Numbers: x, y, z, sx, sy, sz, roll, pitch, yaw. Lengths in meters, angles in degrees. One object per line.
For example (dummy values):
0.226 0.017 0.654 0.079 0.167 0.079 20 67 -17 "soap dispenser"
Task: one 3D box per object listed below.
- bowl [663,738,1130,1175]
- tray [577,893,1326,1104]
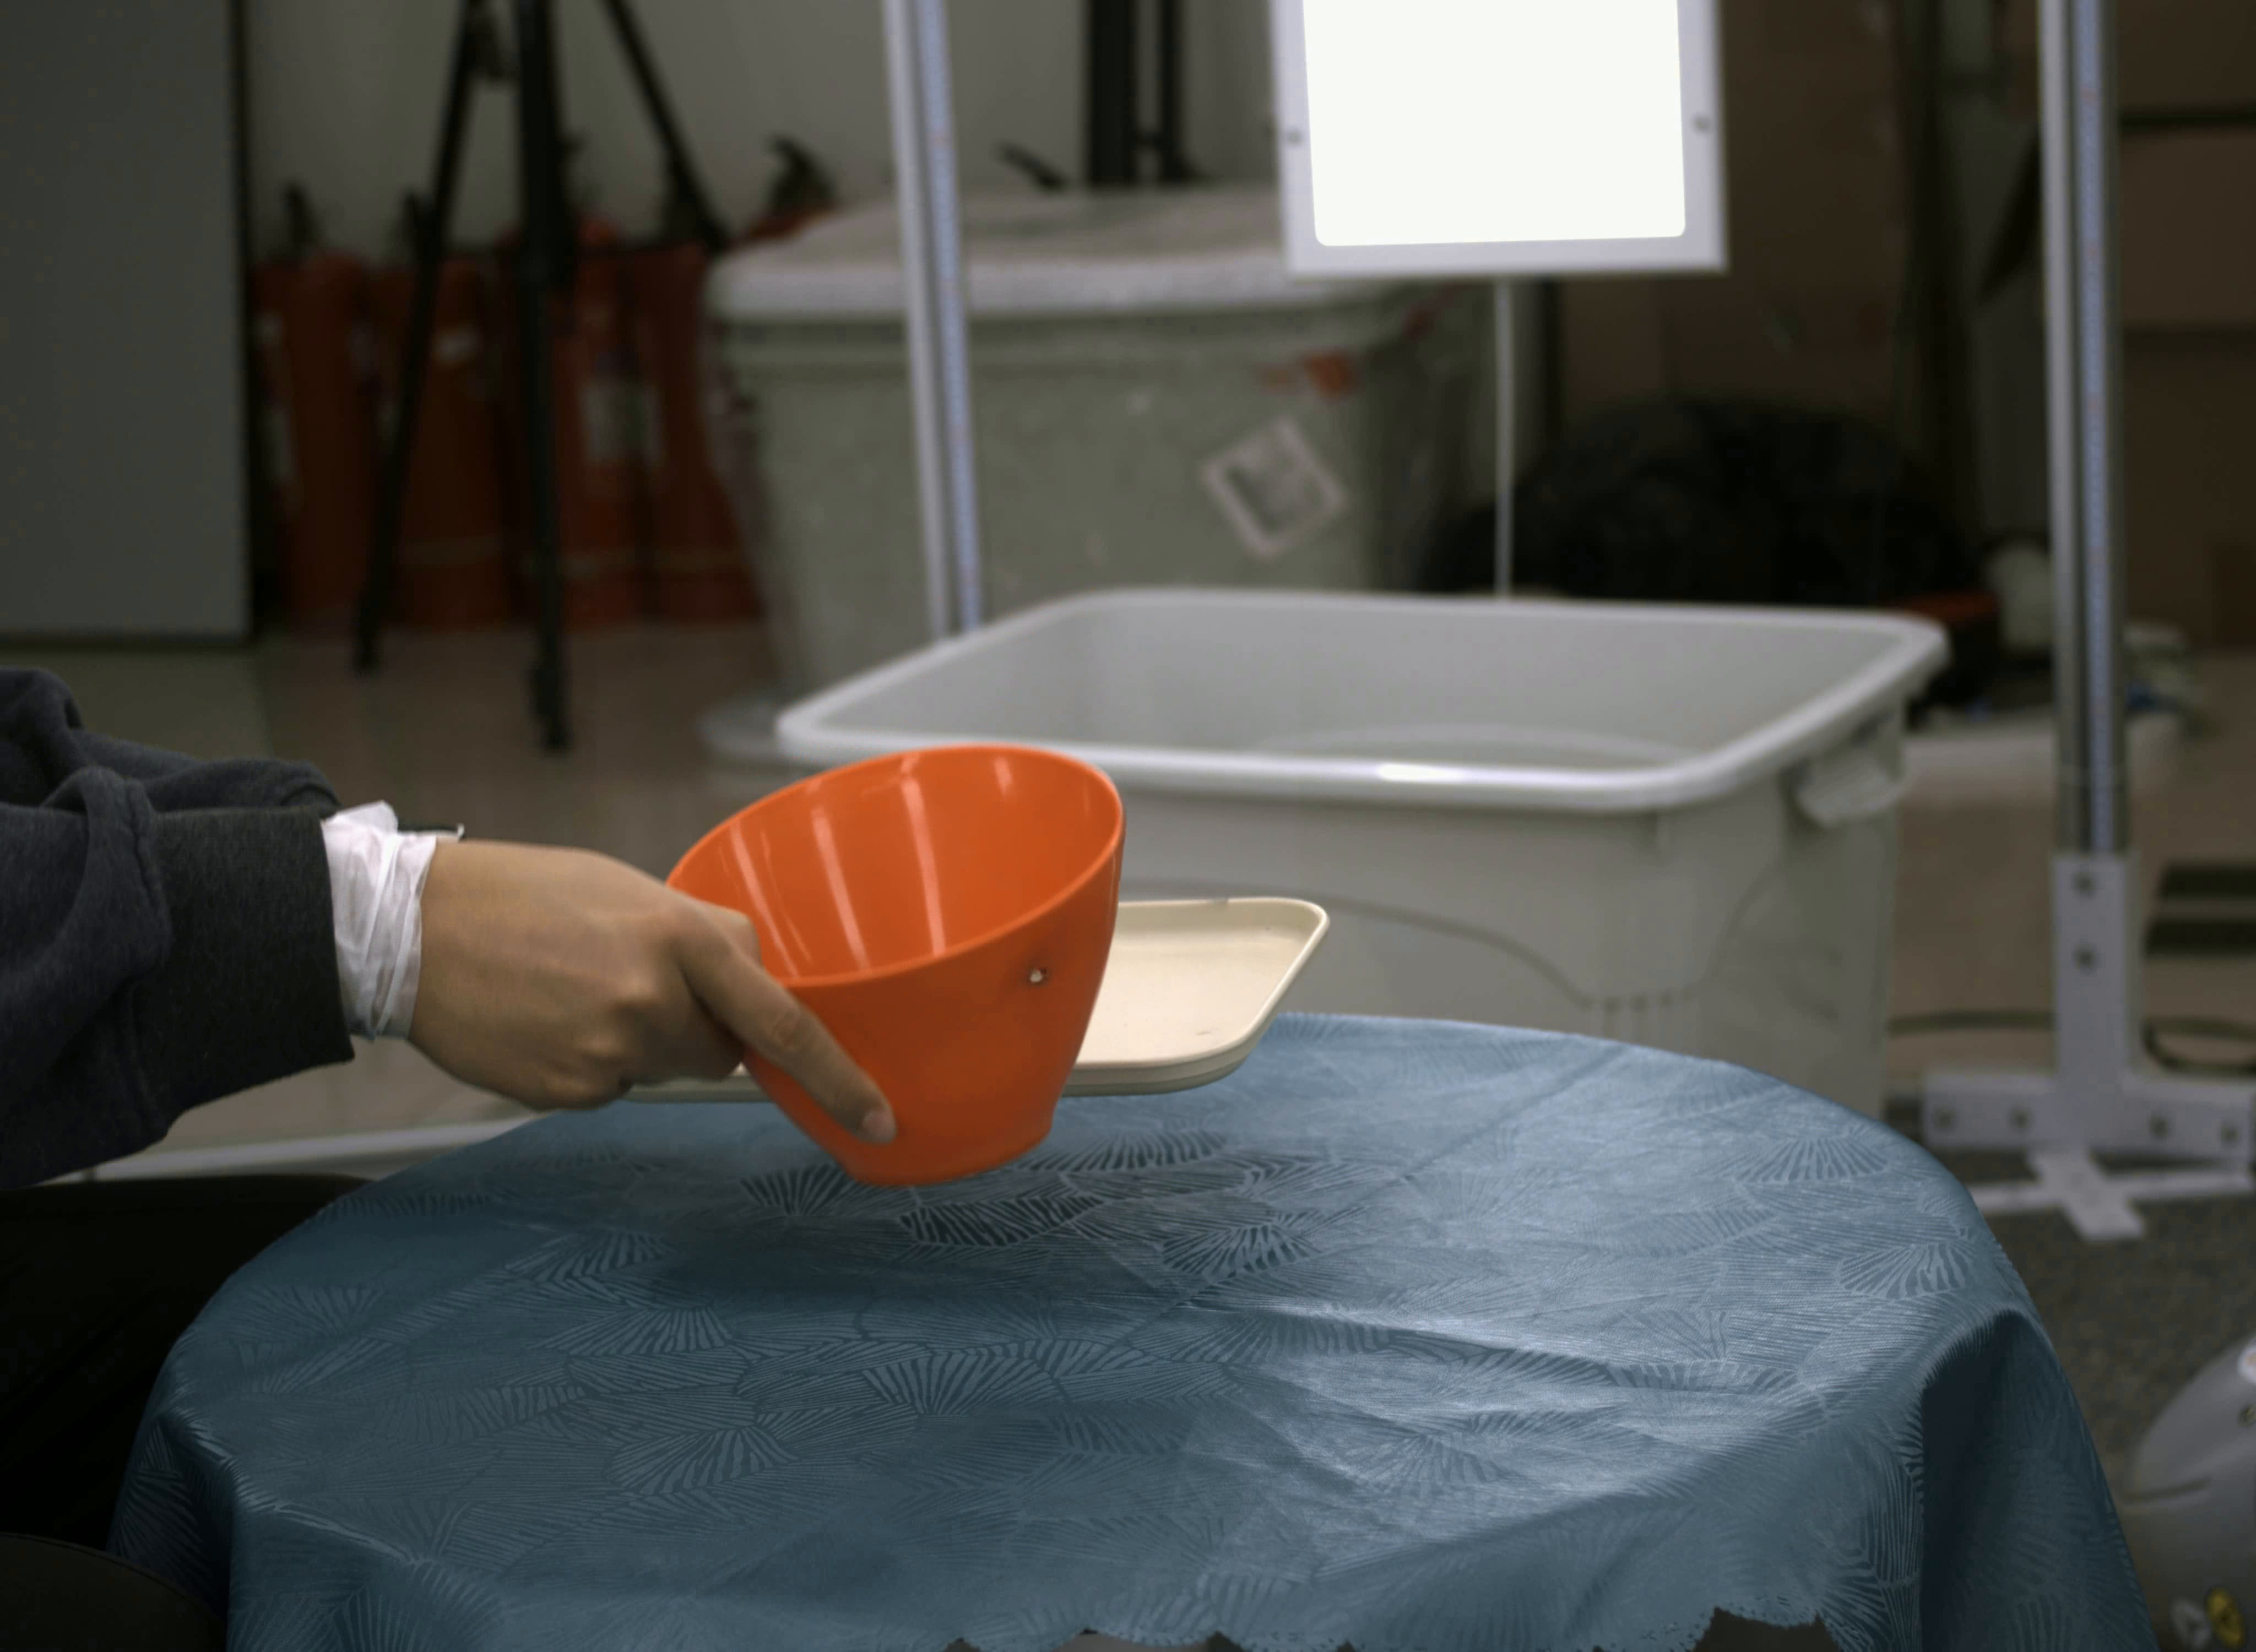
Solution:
-0.064 0.044 1.700 0.148 0.105 0.148 -11 15 2 "bowl"
-0.058 0.060 1.895 0.242 0.017 0.168 -2 18 18 "tray"
